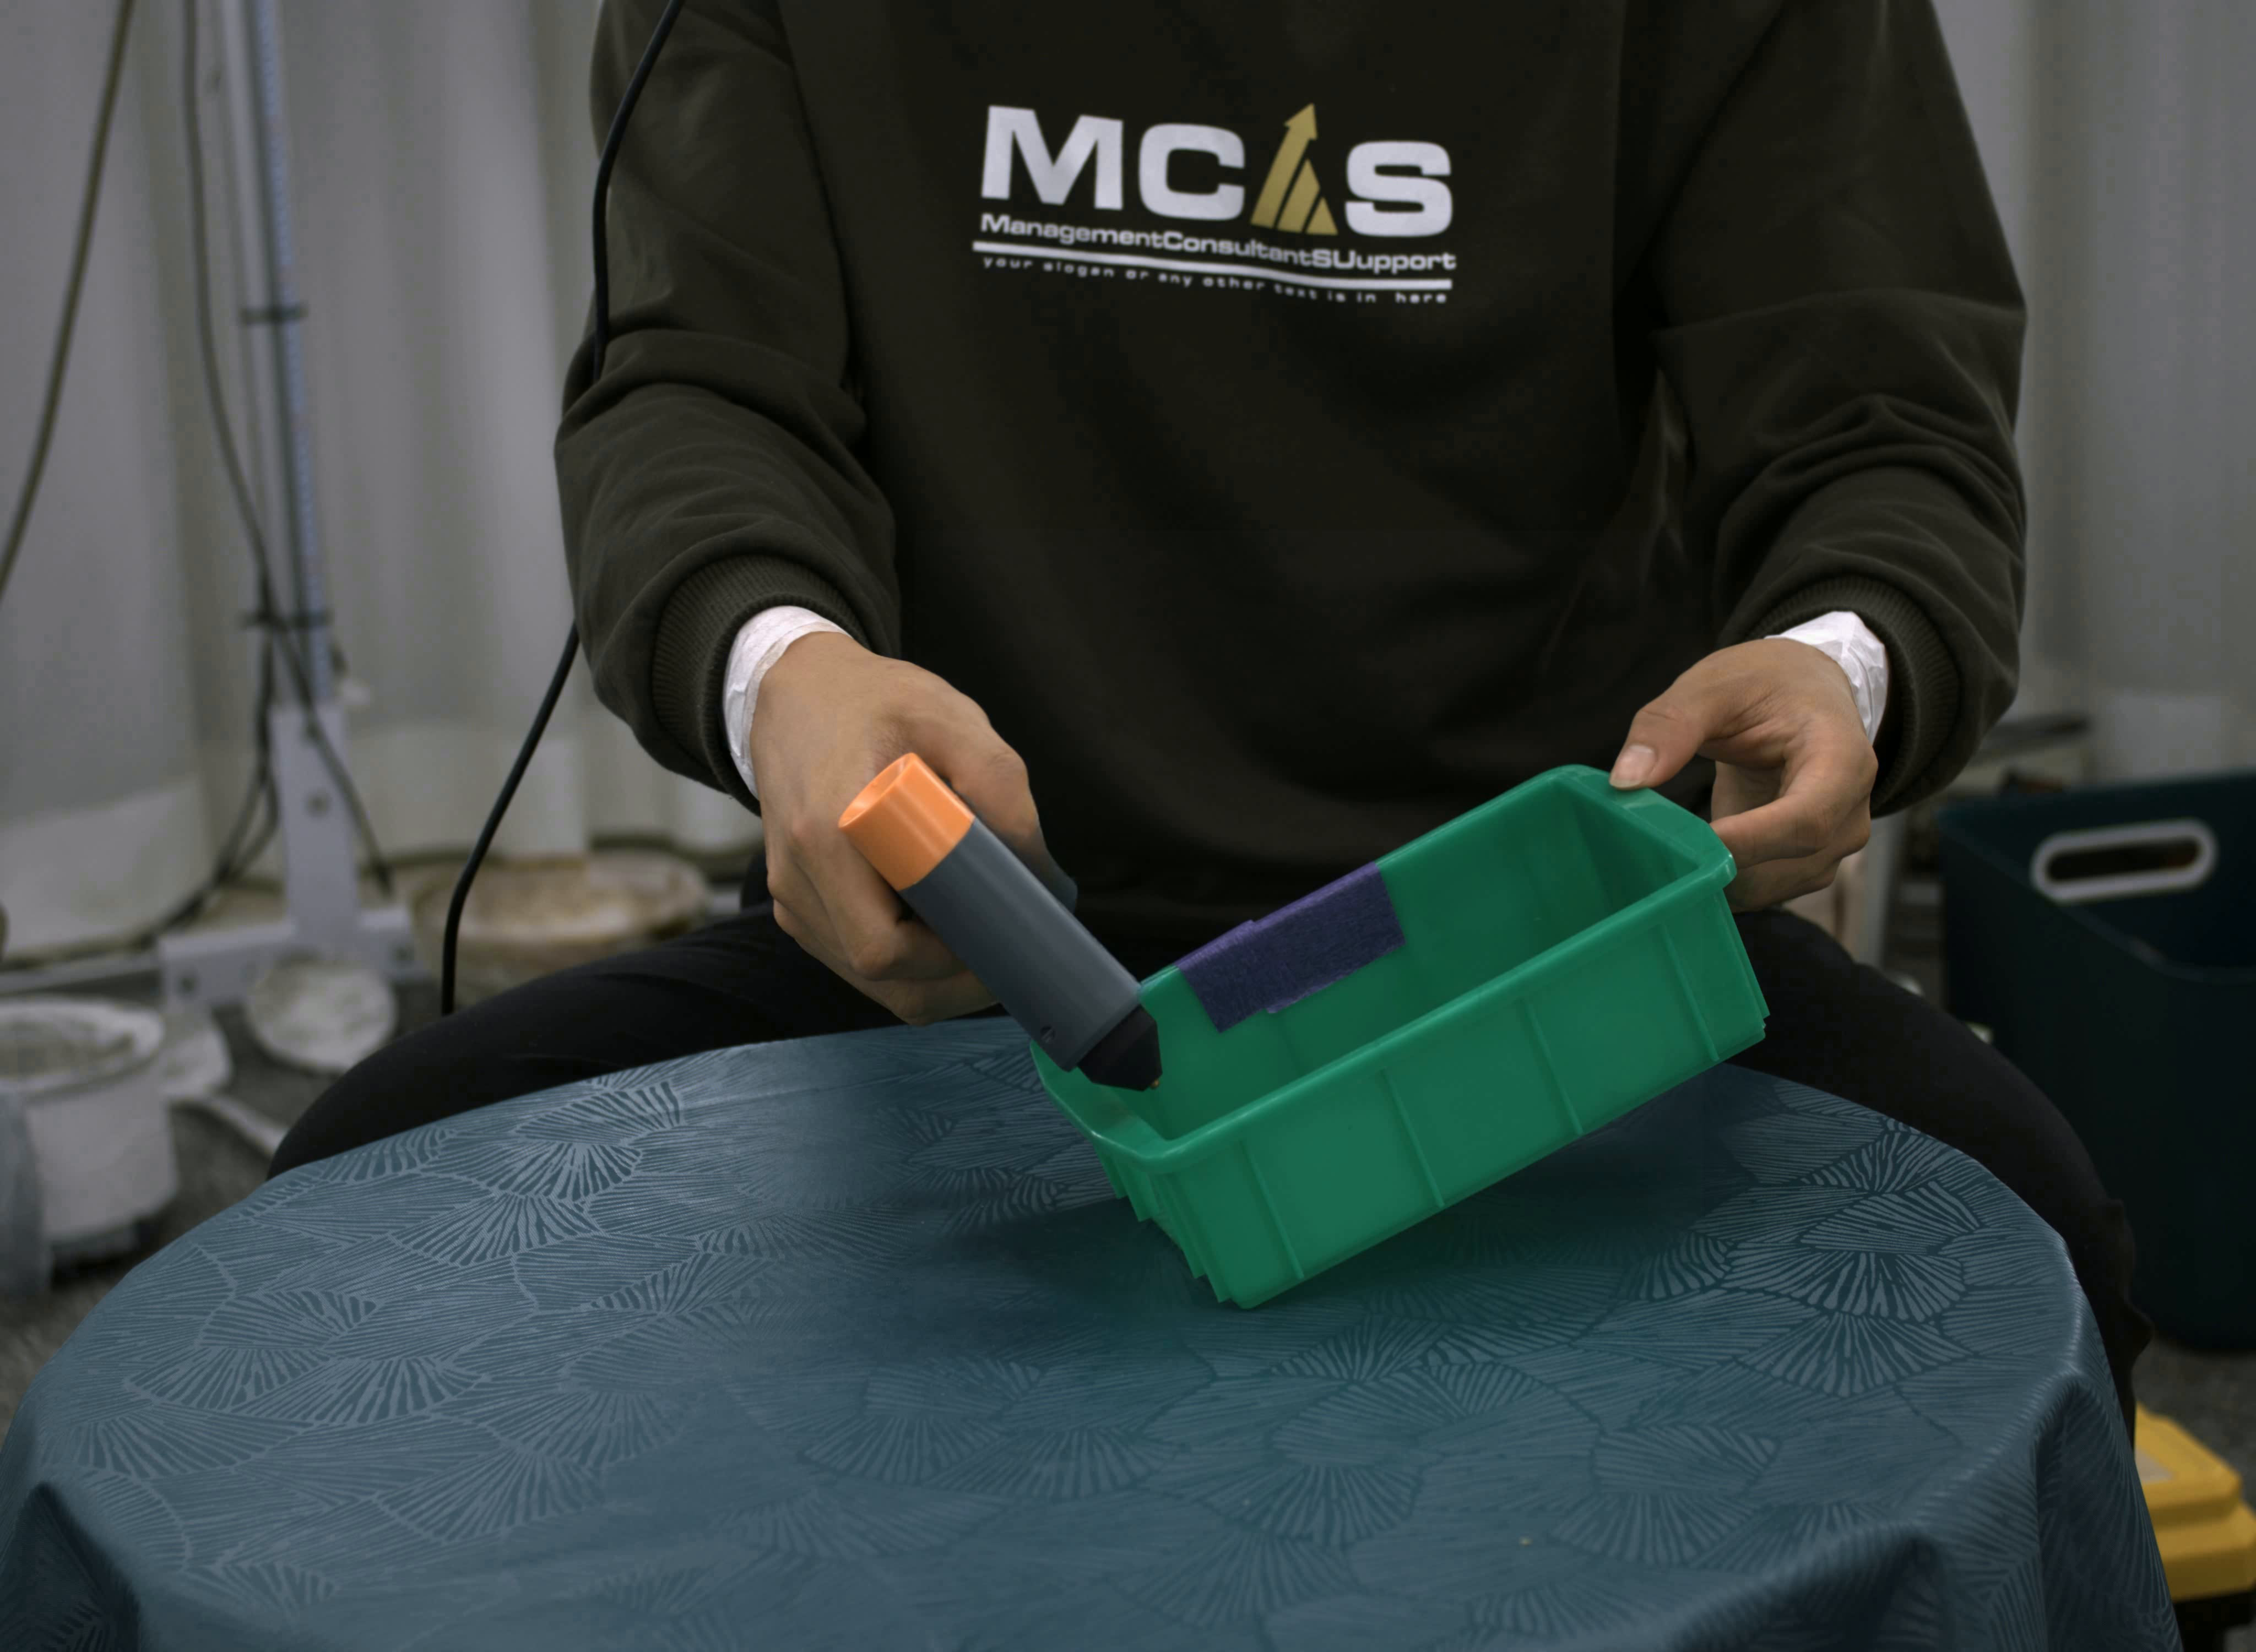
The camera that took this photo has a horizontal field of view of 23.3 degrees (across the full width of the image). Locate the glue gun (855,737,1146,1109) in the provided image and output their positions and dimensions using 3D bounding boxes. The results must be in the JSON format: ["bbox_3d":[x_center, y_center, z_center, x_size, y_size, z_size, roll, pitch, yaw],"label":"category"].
[{"bbox_3d":[-0.038,0.025,1.661,0.041,0.117,0.140,-36,13,1],"label":"glue gun"}]

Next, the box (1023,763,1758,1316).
[{"bbox_3d":[0.083,0.065,1.662,0.210,0.065,0.139,-29,19,-11],"label":"box"}]
